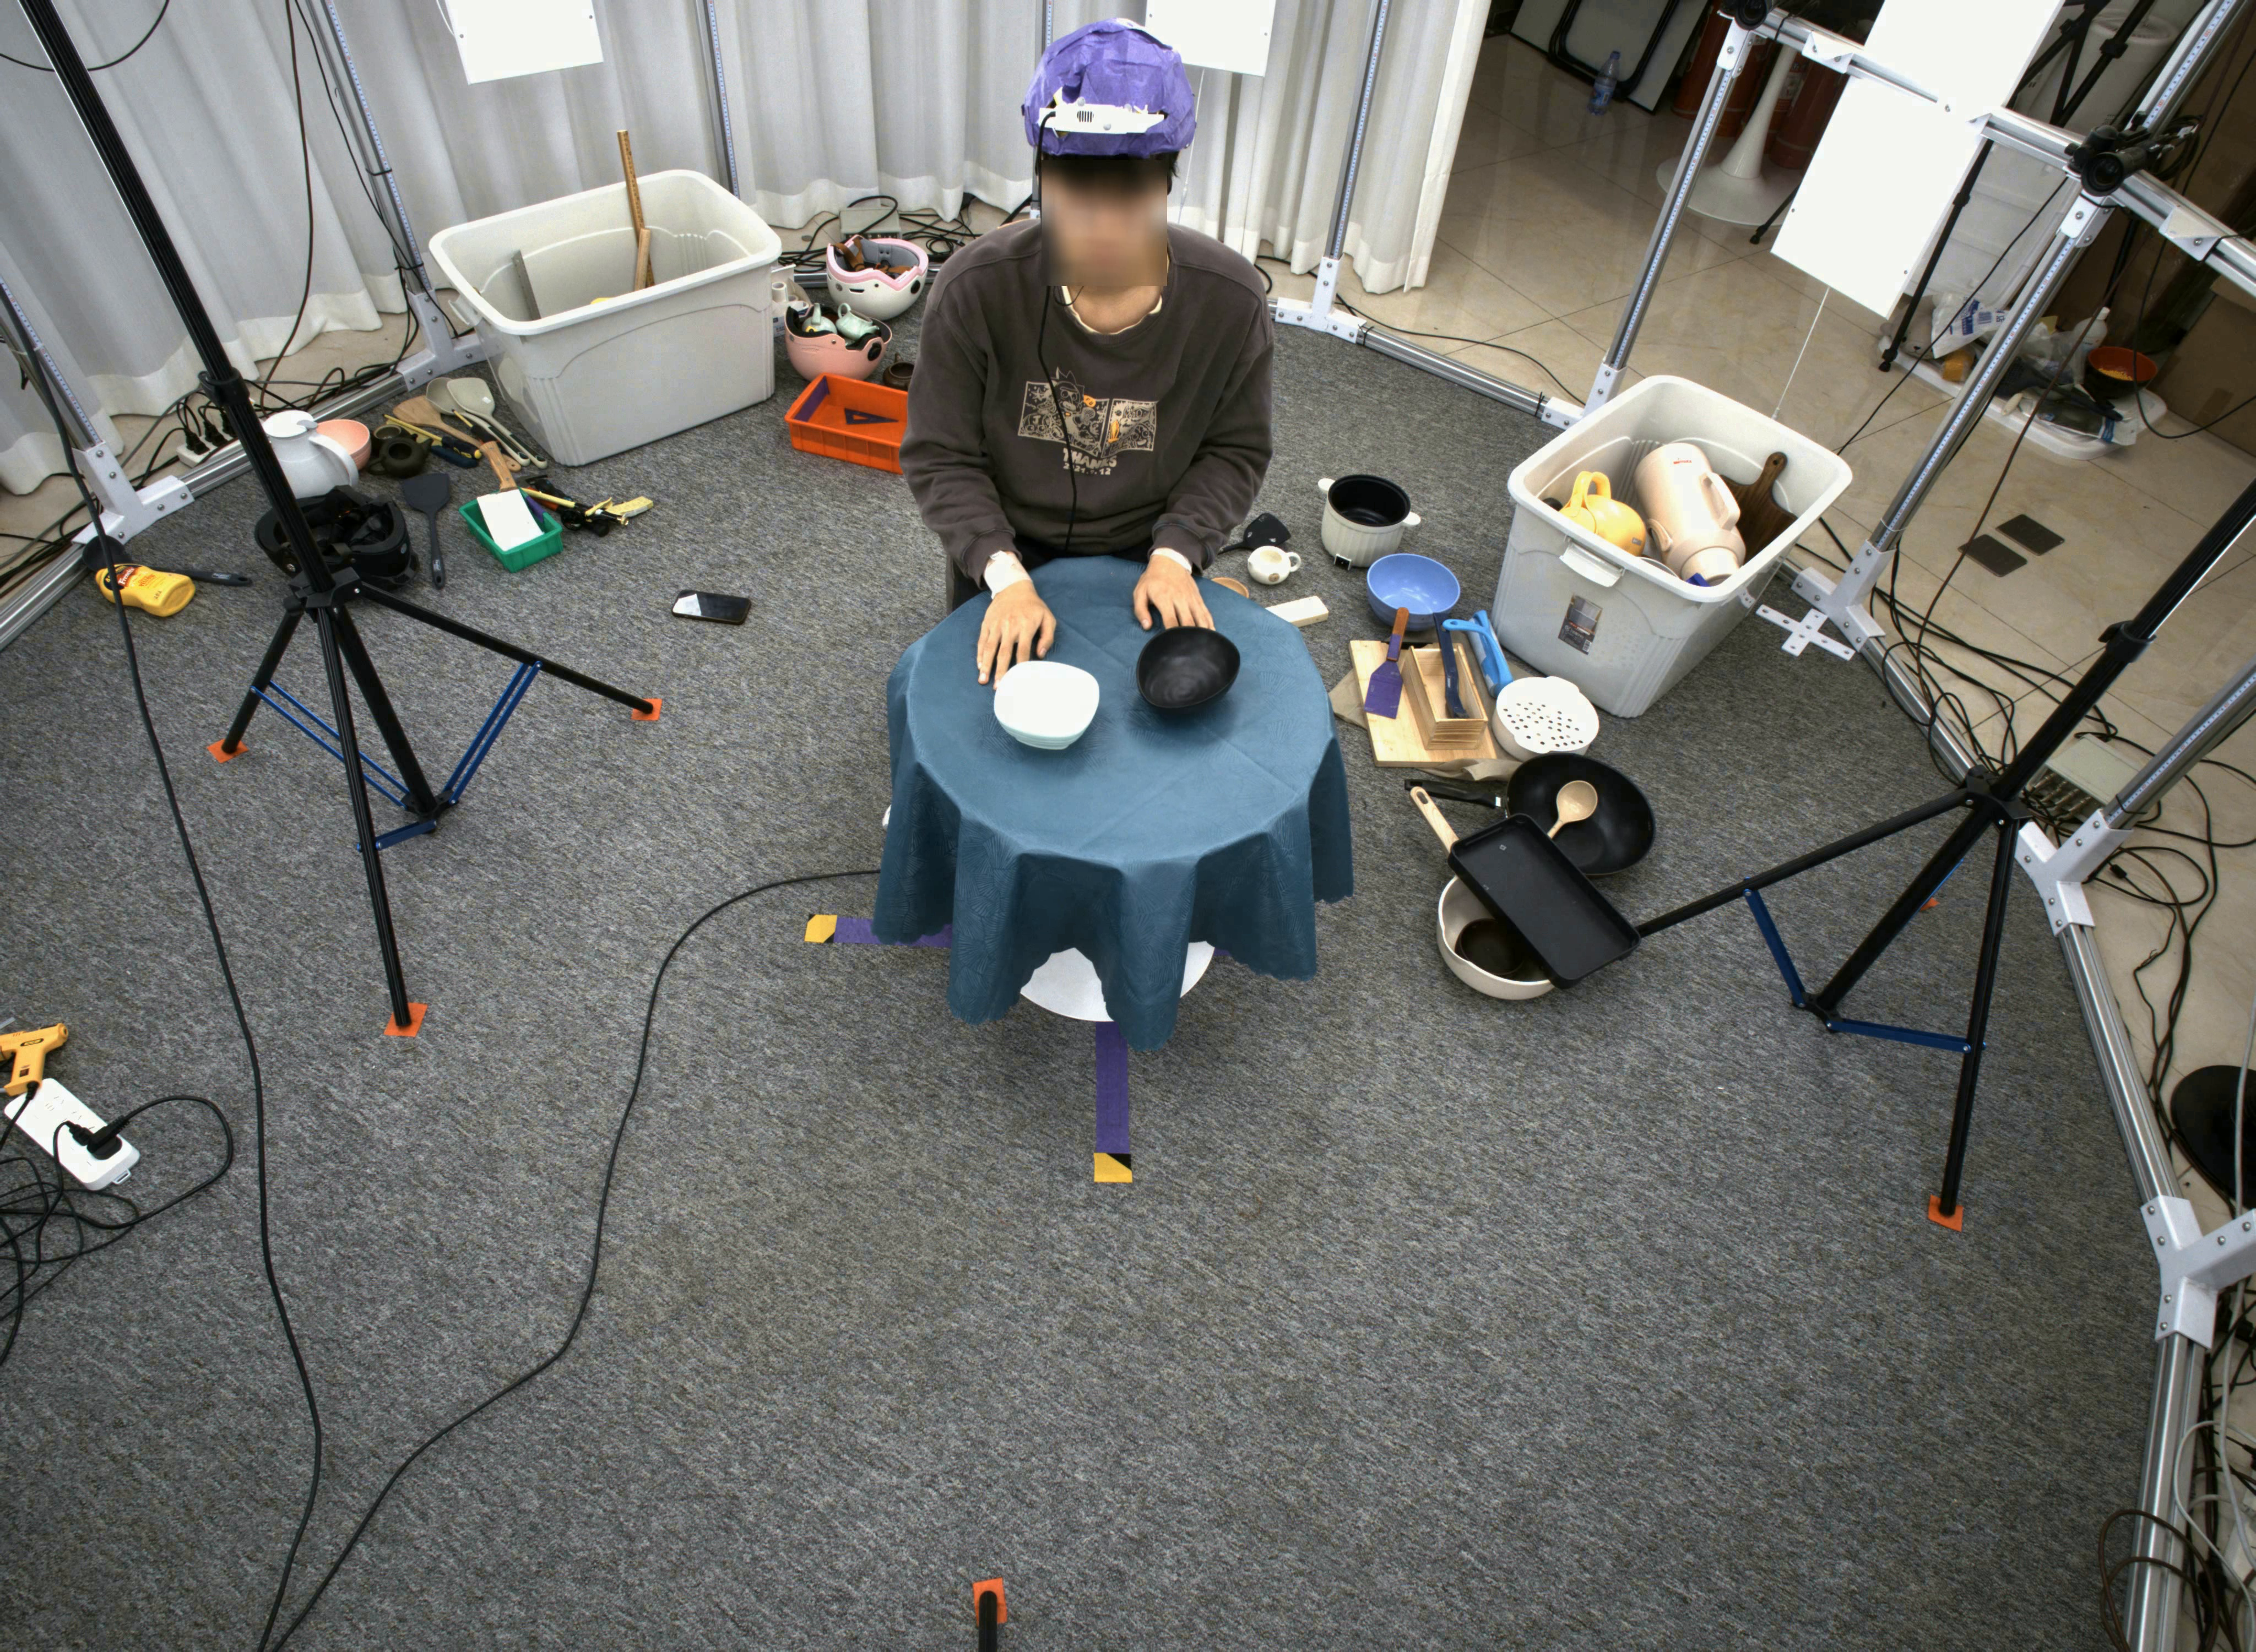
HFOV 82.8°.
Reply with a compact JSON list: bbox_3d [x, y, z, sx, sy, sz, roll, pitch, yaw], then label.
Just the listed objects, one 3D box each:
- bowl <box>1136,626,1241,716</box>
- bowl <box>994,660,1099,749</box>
[{"bbox_3d":[0.083,-0.207,1.810,0.138,0.065,0.173,28,54,19],"label":"bowl"},{"bbox_3d":[-0.112,-0.157,1.758,0.151,0.057,0.155,3,50,-4],"label":"bowl"}]
